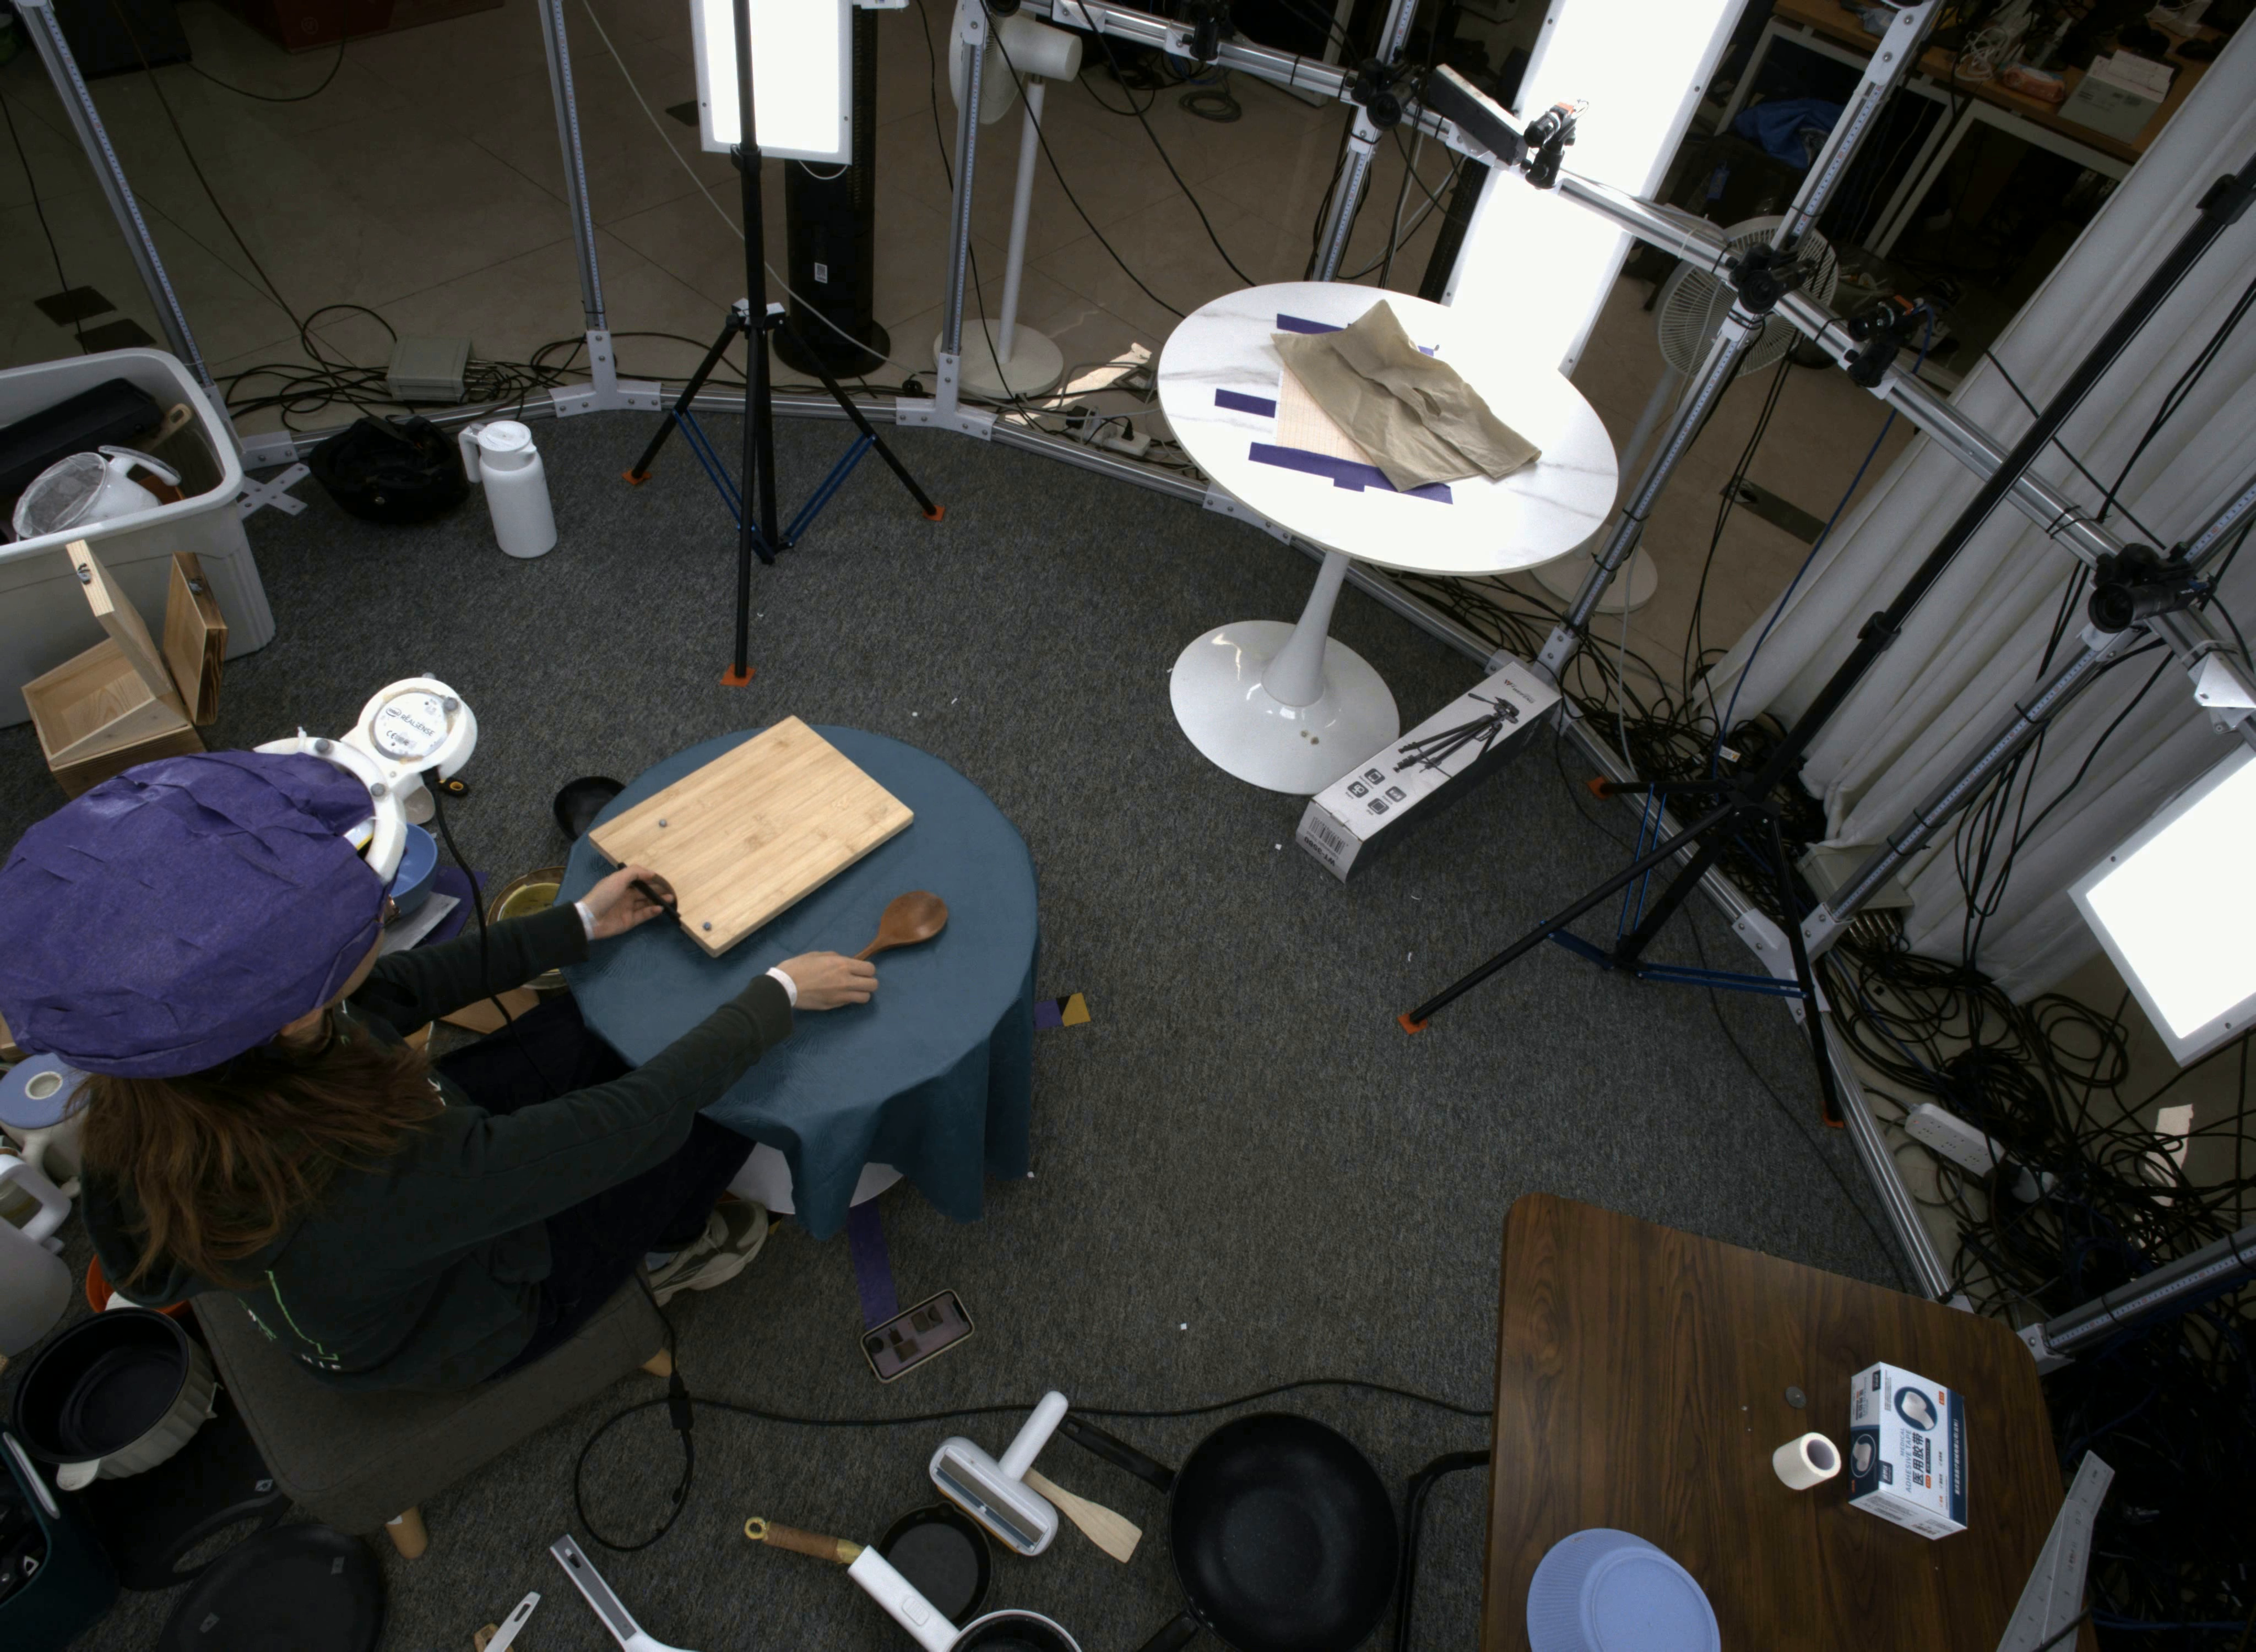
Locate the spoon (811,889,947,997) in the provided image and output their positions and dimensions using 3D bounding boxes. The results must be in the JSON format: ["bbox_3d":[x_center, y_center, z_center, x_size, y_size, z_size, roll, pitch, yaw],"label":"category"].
[{"bbox_3d":[-0.313,0.146,1.628,0.074,0.017,0.216,39,48,14],"label":"spoon"}]

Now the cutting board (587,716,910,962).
[{"bbox_3d":[-0.487,0.004,1.679,0.245,0.024,0.349,37,49,15],"label":"cutting board"}]
